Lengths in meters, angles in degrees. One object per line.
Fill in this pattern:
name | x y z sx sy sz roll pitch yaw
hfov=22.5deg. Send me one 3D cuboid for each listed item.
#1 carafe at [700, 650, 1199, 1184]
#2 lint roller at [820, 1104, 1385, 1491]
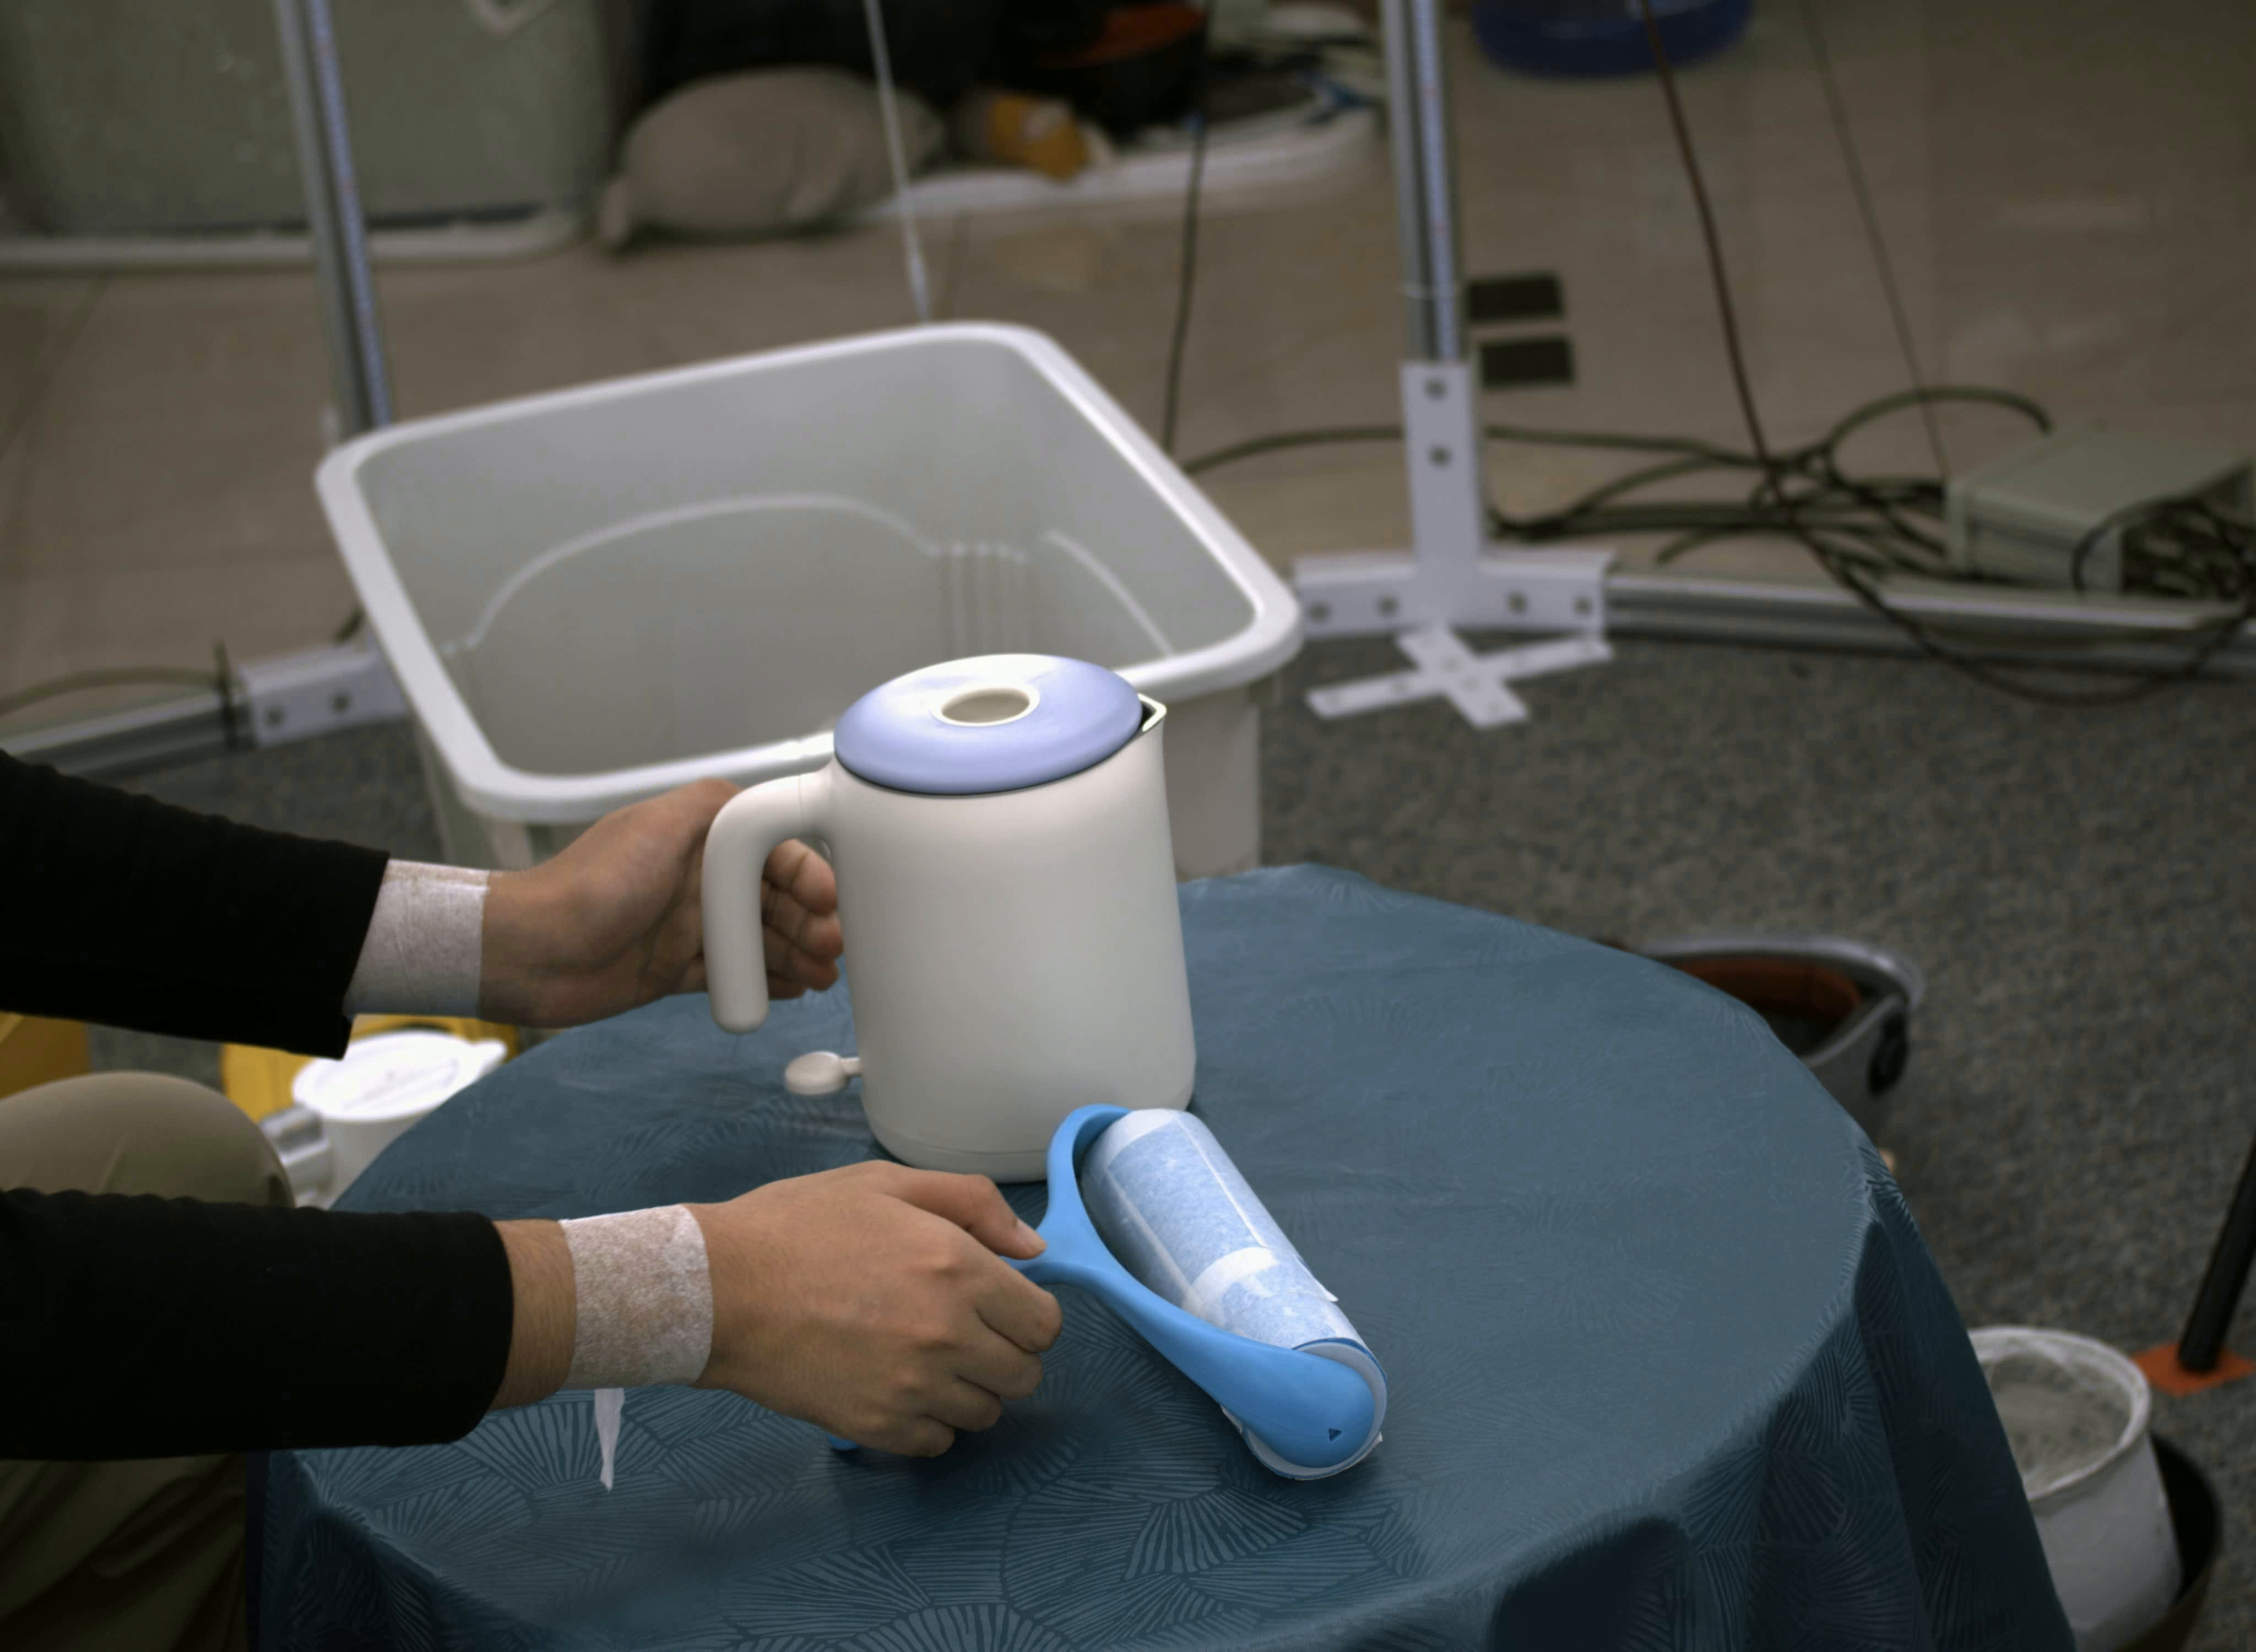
carafe | -0.069 0.038 2.175 0.191 0.185 0.130 -9 25 -1
lint roller | -0.021 0.174 2.007 0.180 0.069 0.225 -8 27 -17
